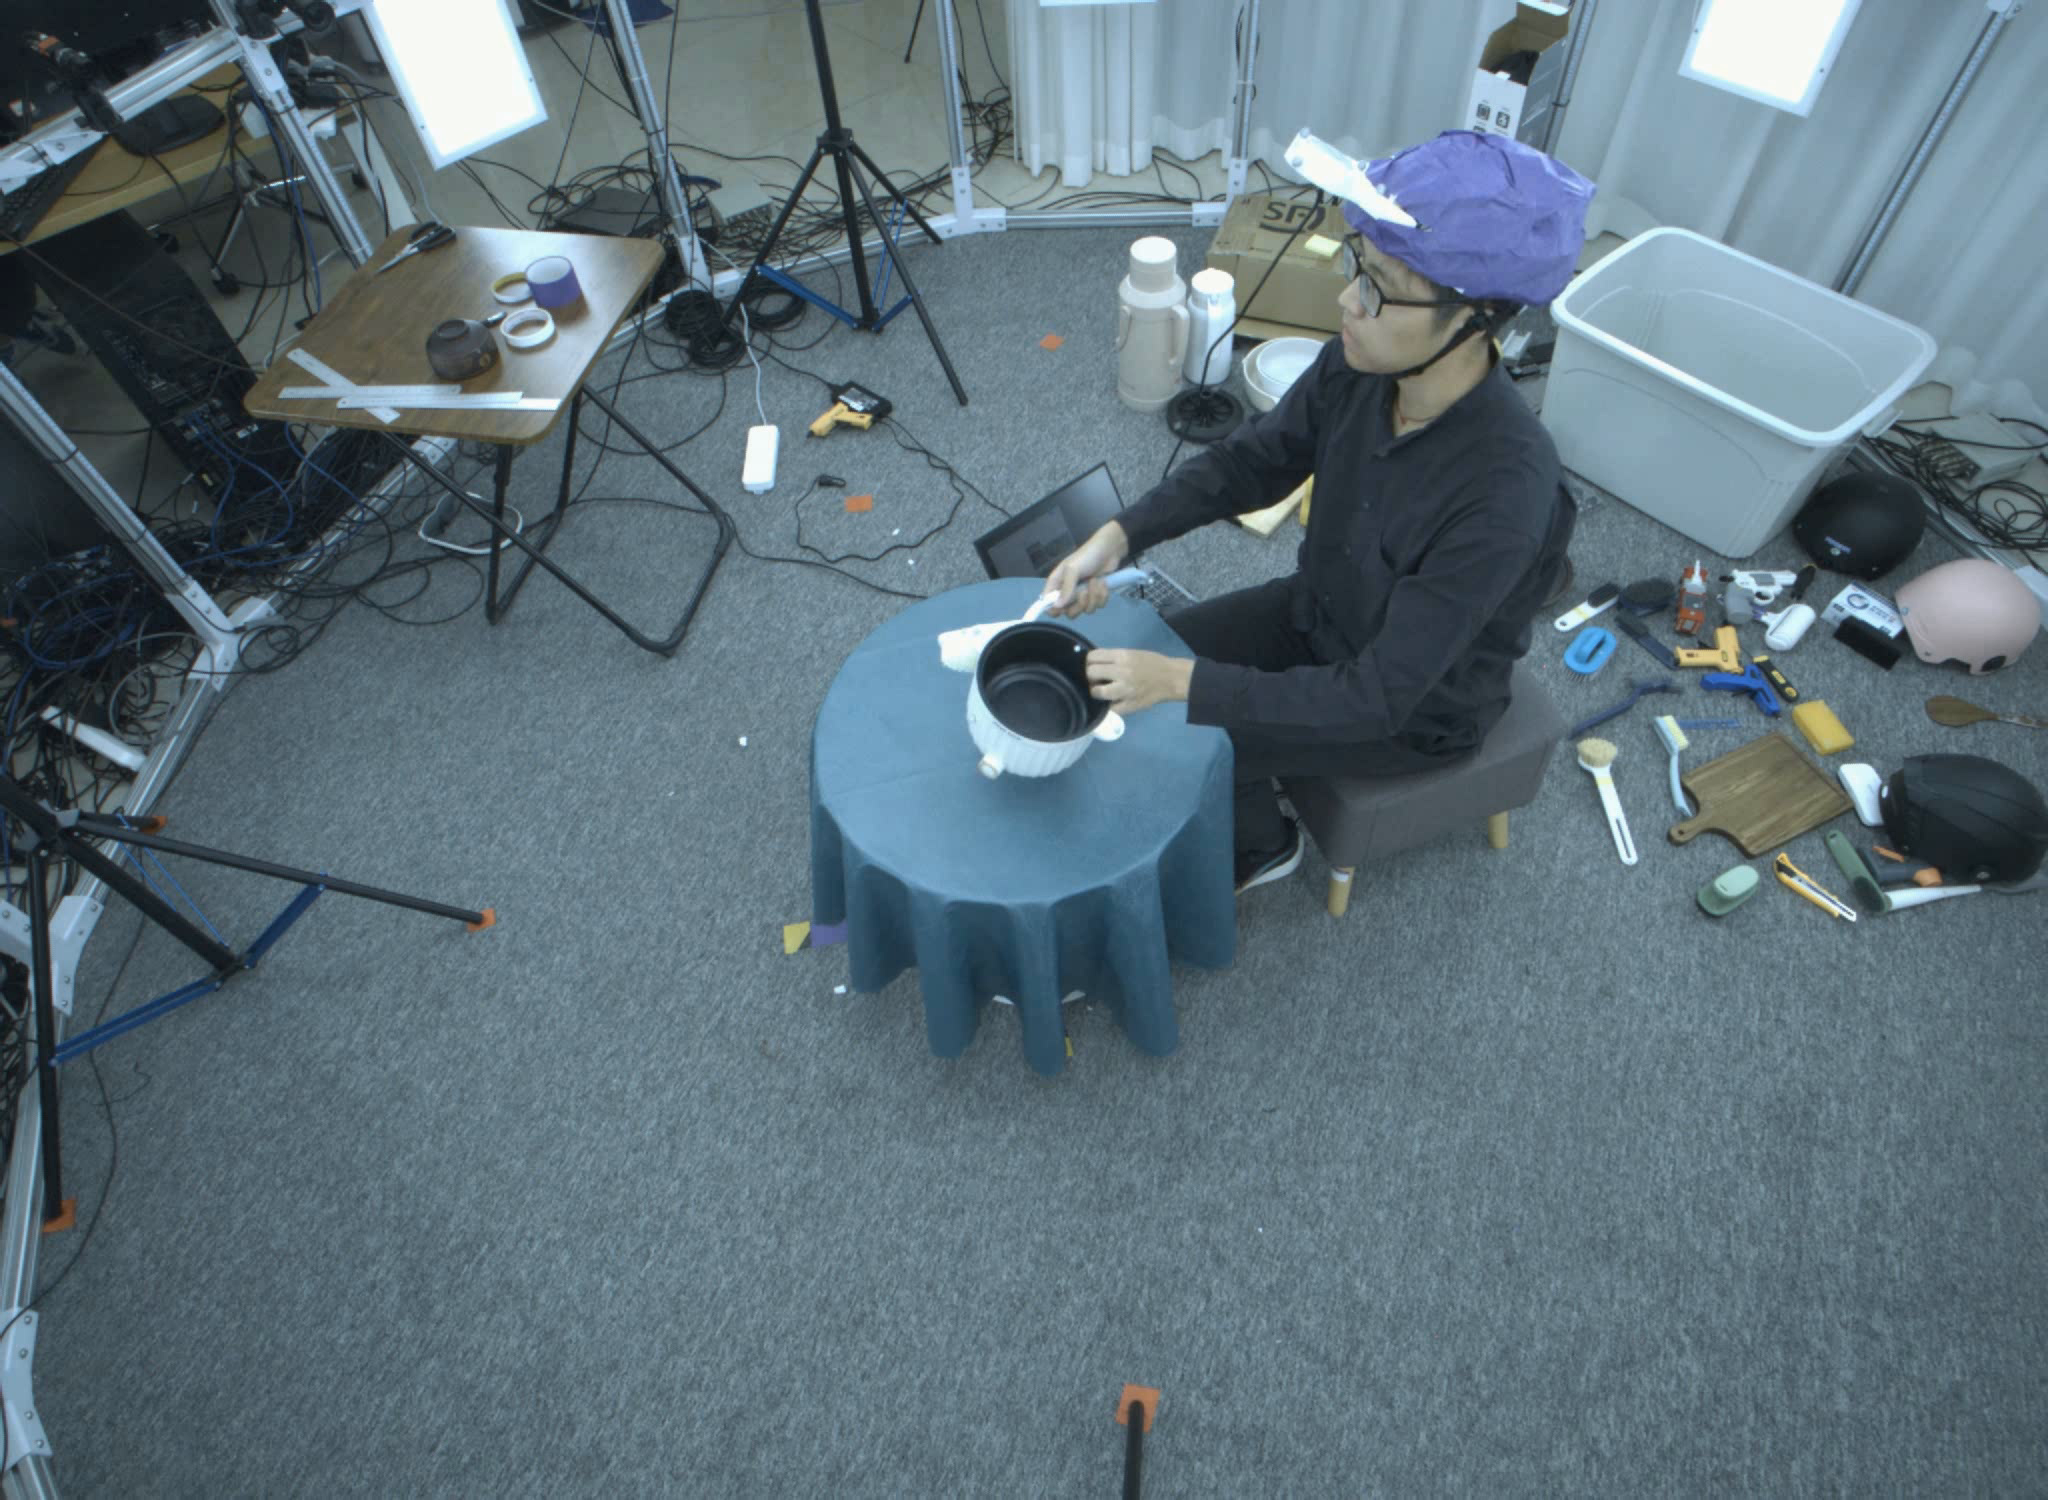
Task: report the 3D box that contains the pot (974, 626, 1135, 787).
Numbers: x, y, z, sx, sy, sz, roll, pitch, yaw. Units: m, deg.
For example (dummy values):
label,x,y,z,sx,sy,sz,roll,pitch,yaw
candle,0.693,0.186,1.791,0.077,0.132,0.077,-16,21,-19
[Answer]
label,x,y,z,sx,sy,sz,roll,pitch,yaw
pot,0.024,-0.046,1.620,0.239,0.142,0.191,33,57,5

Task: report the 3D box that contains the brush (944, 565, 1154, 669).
label,x,y,z,sx,sy,sz,roll,pitch,yaw
brush,0.047,-0.177,1.706,0.328,0.085,0.082,-19,14,-15
